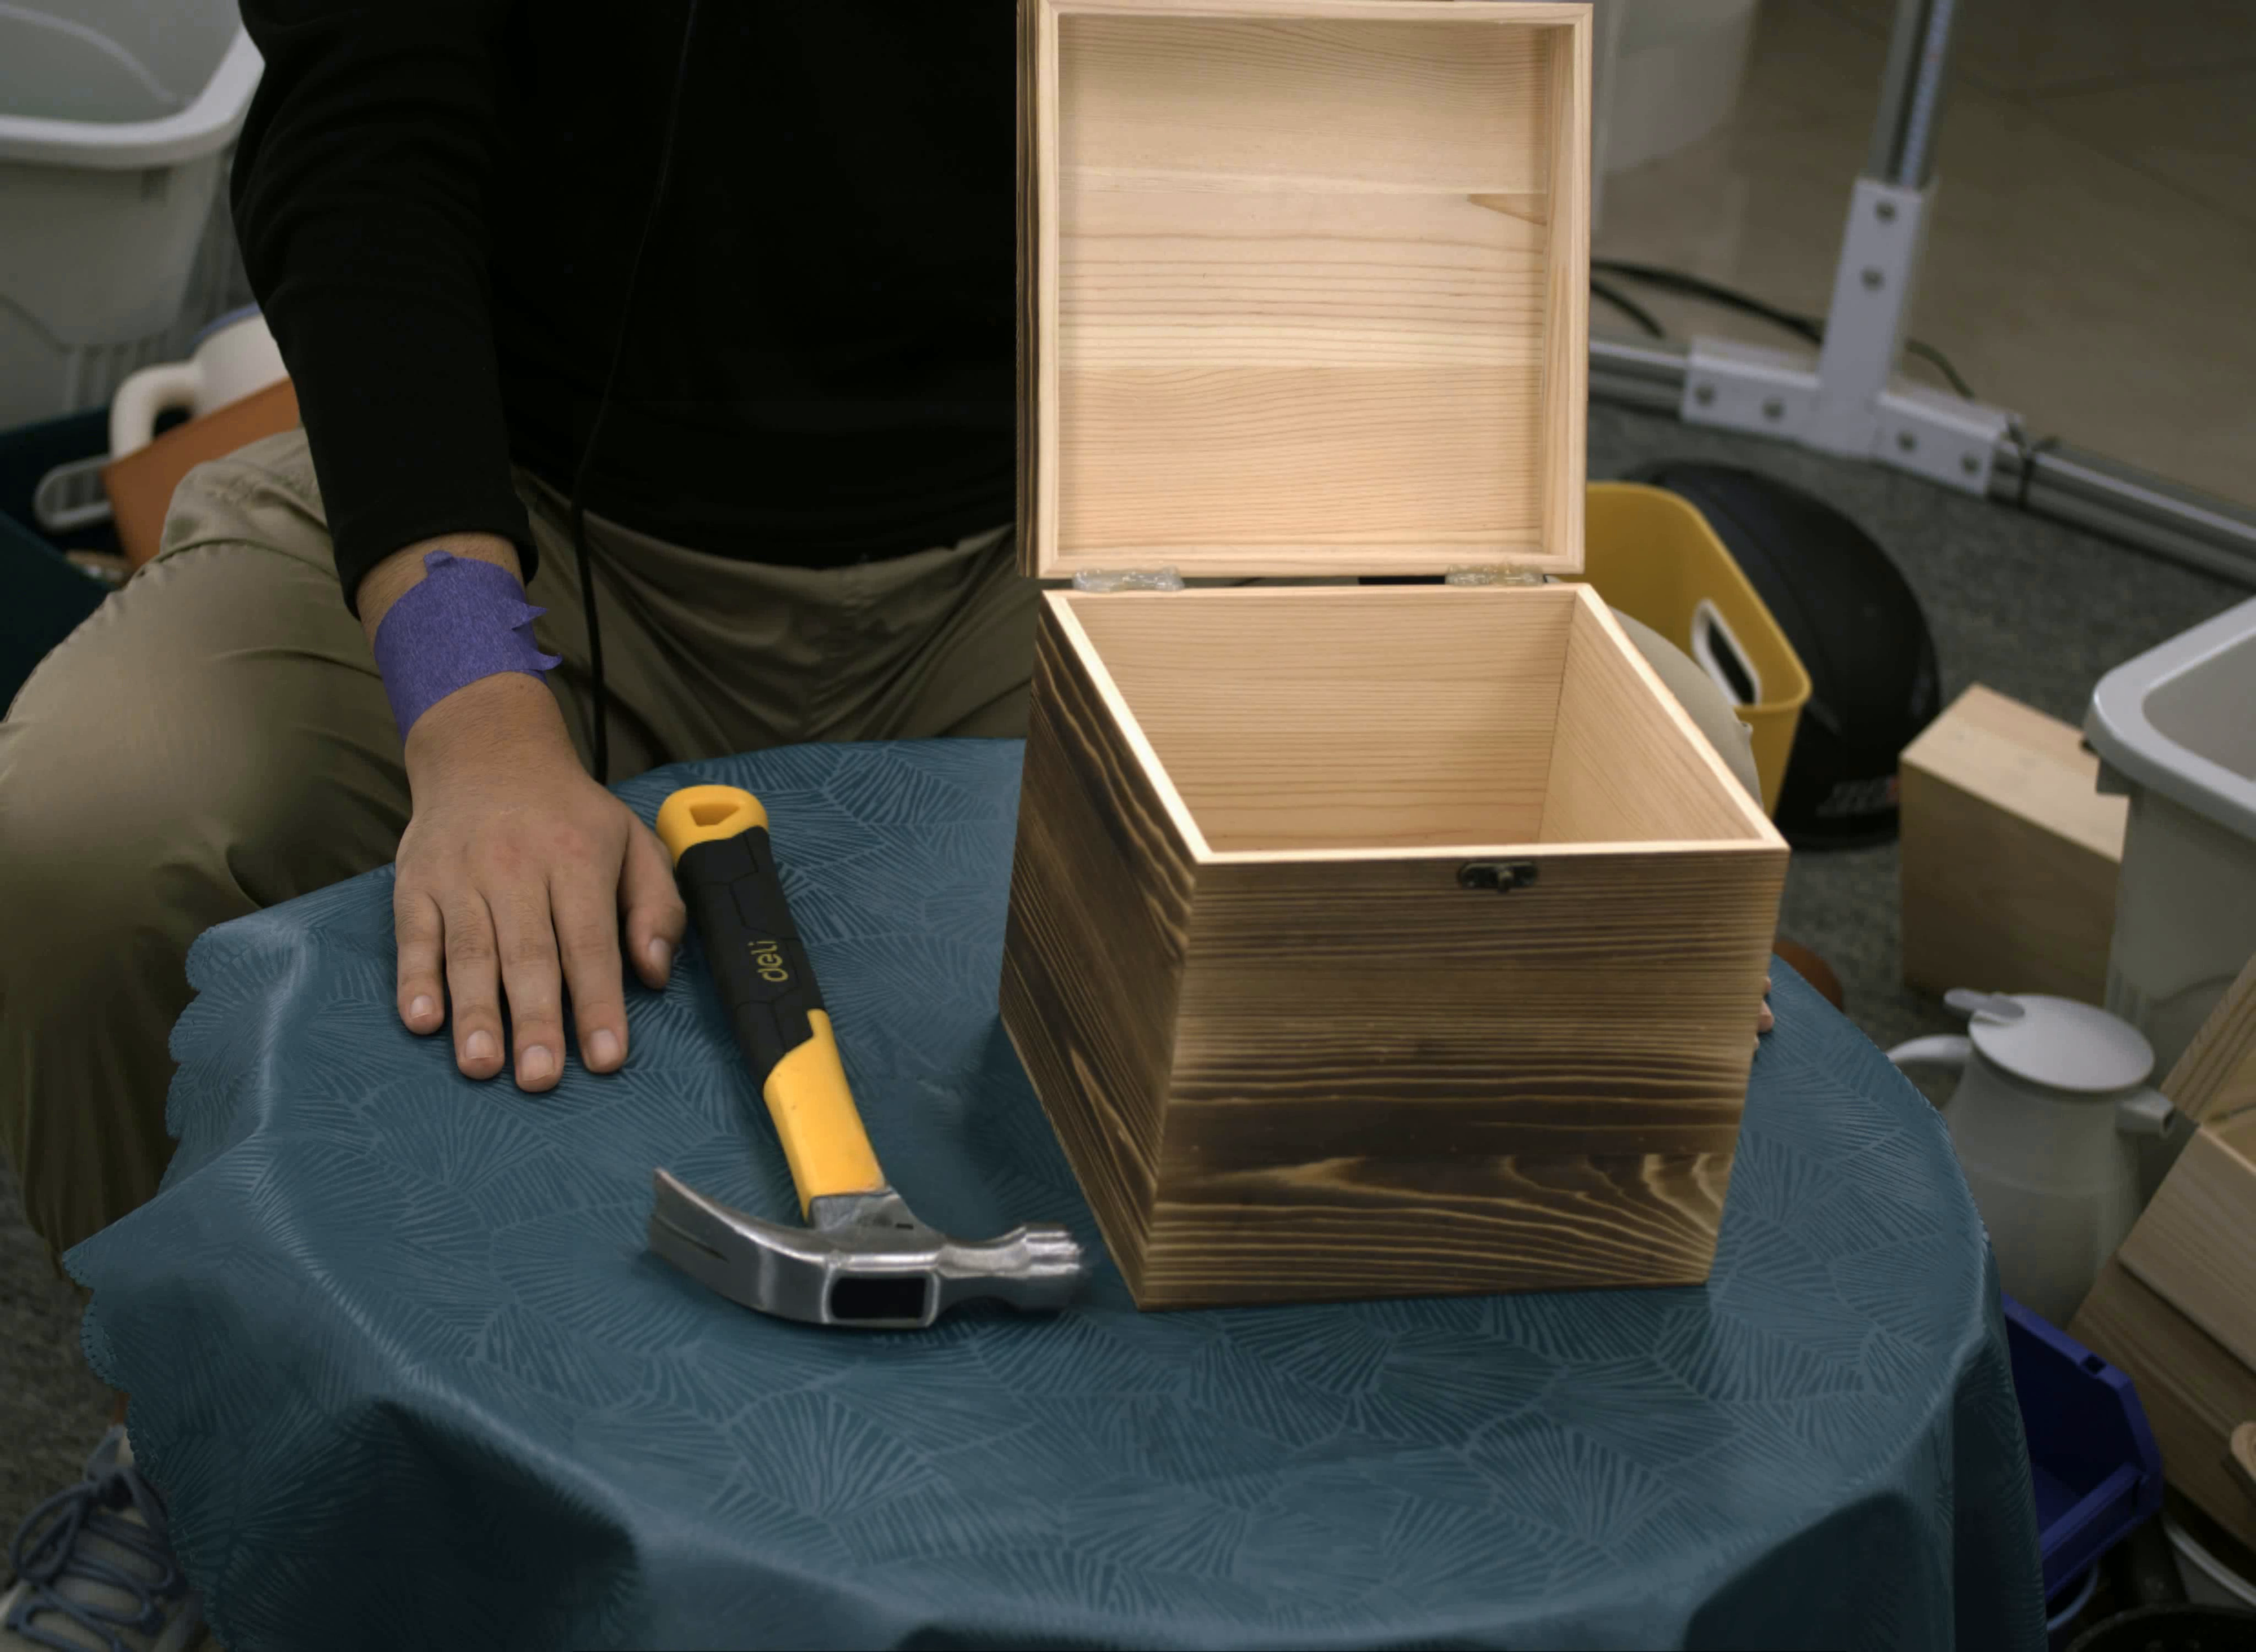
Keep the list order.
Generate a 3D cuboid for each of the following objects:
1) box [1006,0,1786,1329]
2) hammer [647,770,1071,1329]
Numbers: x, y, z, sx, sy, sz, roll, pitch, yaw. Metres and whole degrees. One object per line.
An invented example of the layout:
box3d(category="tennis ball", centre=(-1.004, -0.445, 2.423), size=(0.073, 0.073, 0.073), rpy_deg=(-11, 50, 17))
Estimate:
box3d(category="box", centre=(0.078, -0.071, 1.813), size=(0.207, 0.374, 0.325), rpy_deg=(-2, 27, -15))
box3d(category="hammer", centre=(-0.117, 0.069, 1.845), size=(0.130, 0.032, 0.341), rpy_deg=(-1, 29, -14))
